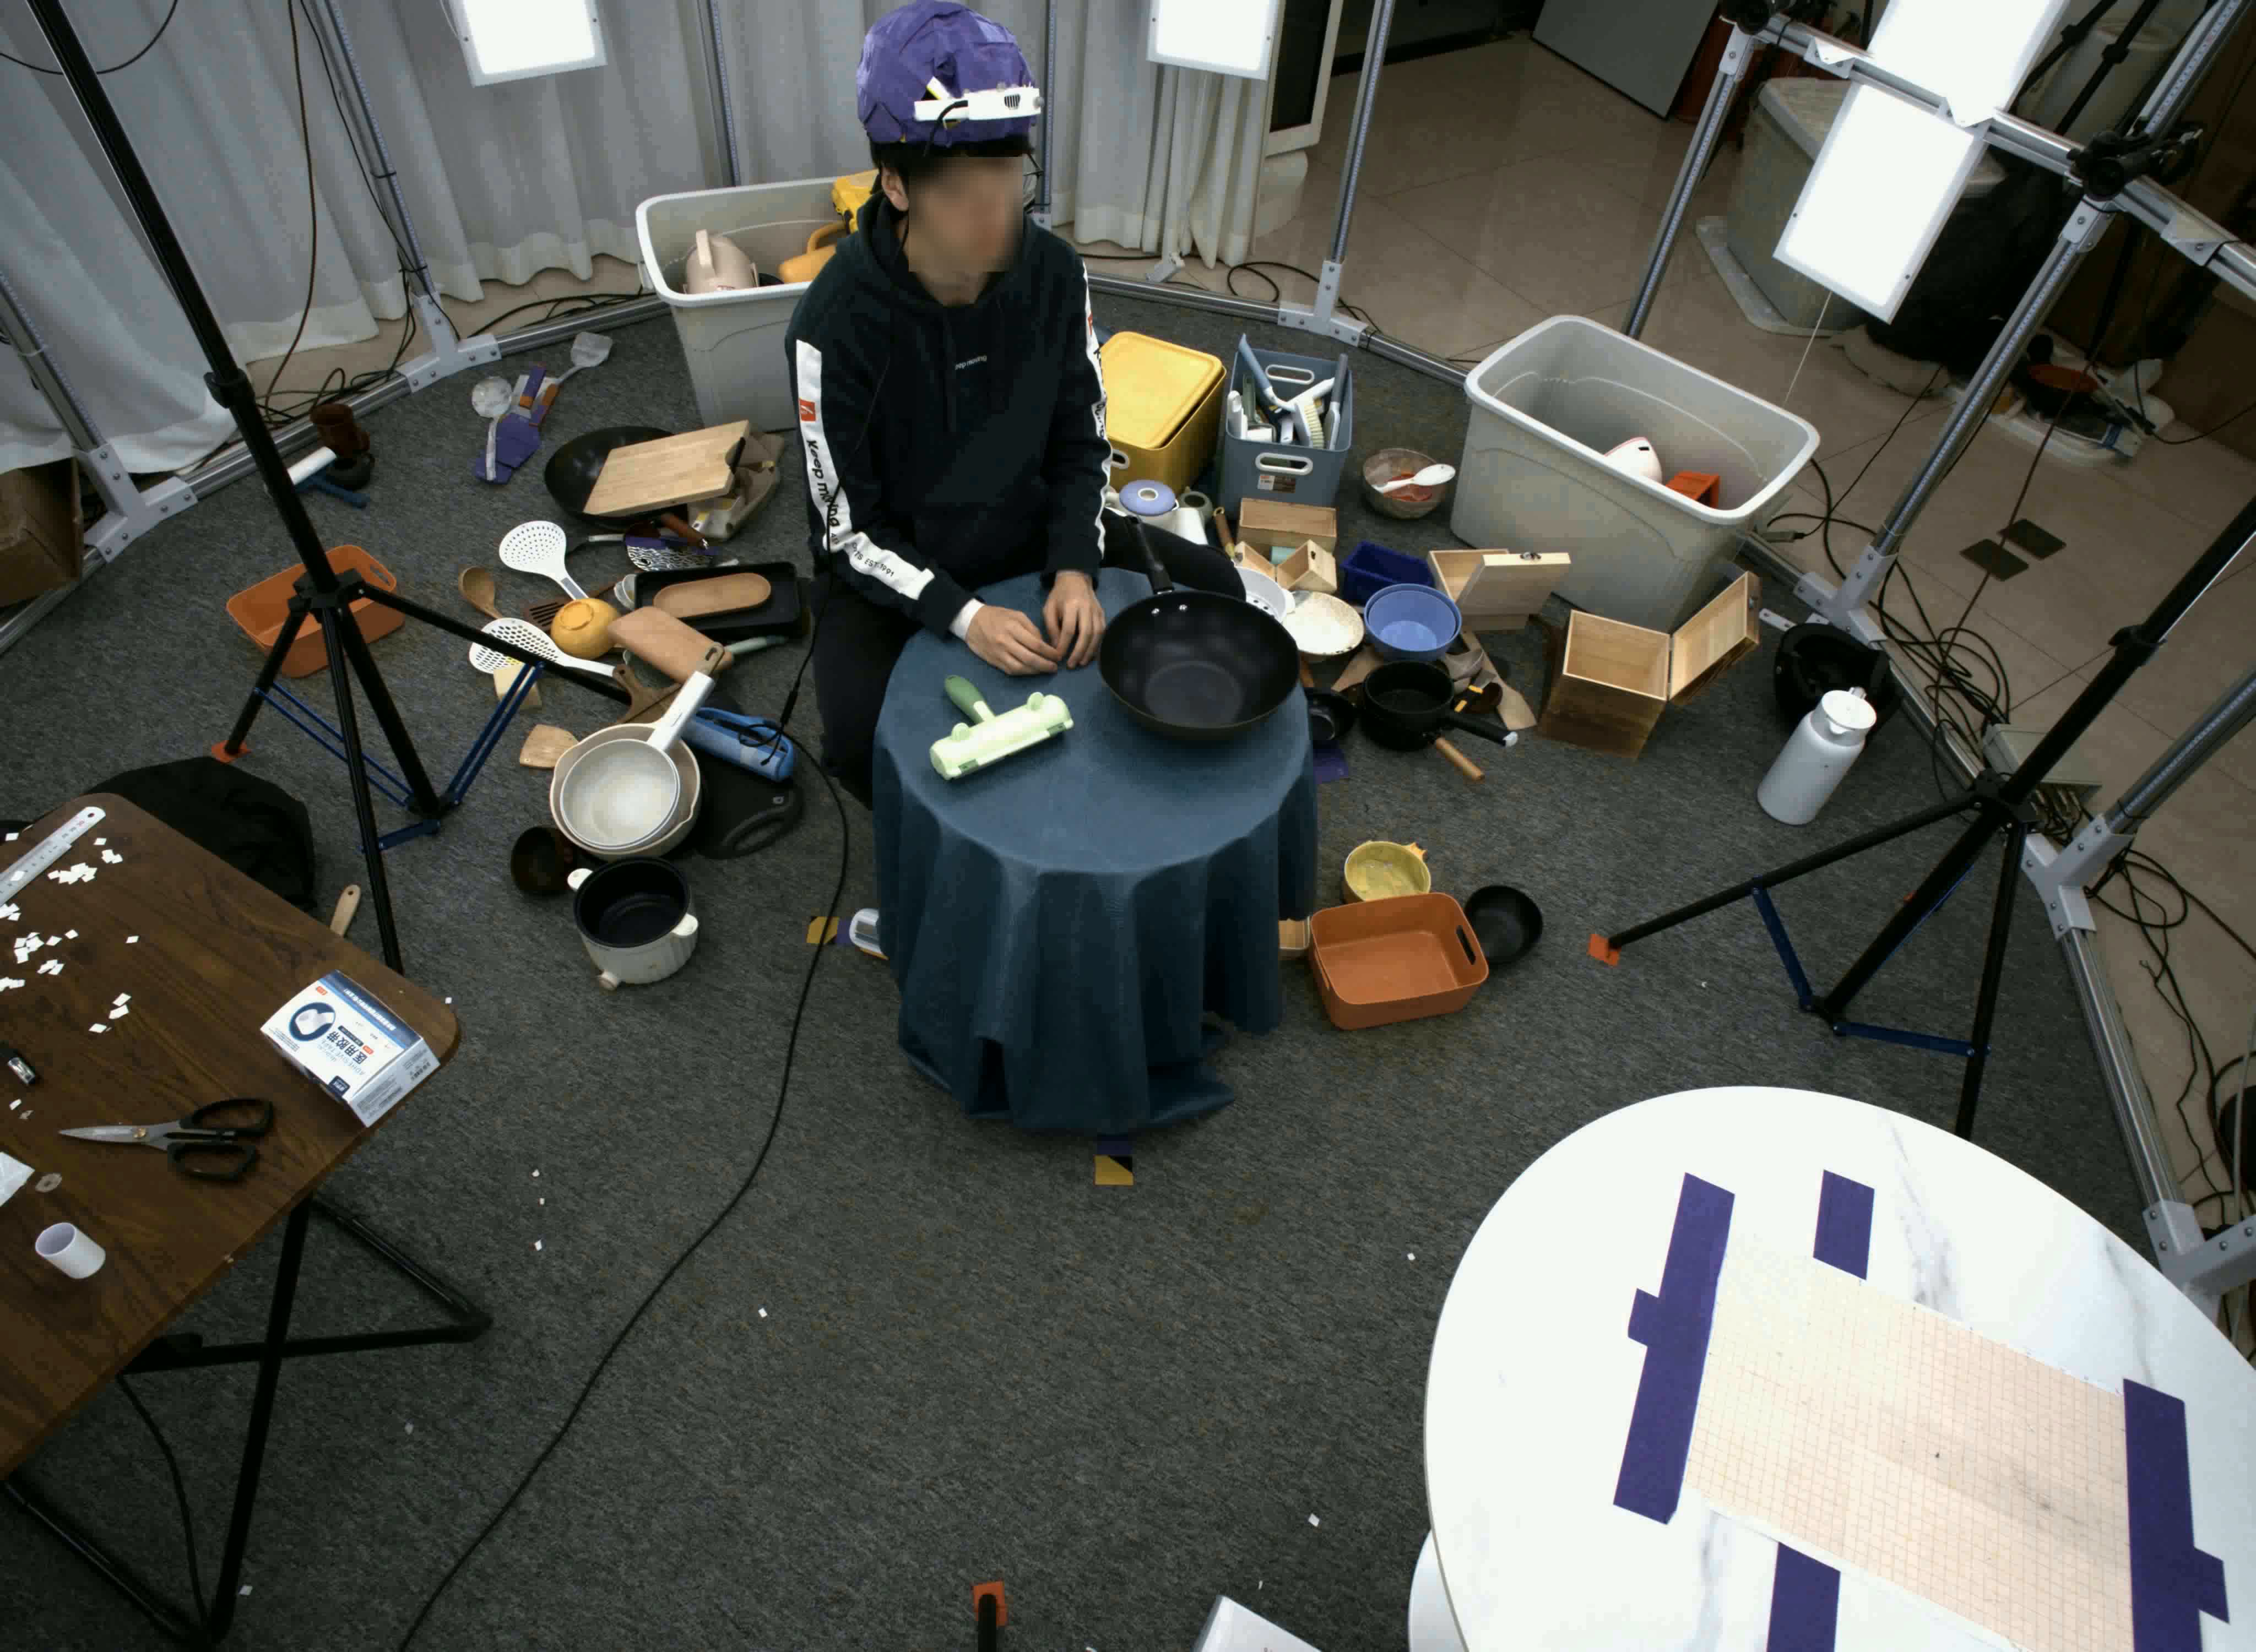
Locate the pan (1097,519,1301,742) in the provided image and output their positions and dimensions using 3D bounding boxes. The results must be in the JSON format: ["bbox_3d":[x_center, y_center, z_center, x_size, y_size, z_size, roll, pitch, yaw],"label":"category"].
[{"bbox_3d":[0.068,-0.278,1.860,0.288,0.085,0.475,-11,50,-14],"label":"pan"}]

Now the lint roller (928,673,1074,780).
[{"bbox_3d":[-0.200,-0.164,1.749,0.199,0.080,0.187,-25,60,-23],"label":"lint roller"}]
